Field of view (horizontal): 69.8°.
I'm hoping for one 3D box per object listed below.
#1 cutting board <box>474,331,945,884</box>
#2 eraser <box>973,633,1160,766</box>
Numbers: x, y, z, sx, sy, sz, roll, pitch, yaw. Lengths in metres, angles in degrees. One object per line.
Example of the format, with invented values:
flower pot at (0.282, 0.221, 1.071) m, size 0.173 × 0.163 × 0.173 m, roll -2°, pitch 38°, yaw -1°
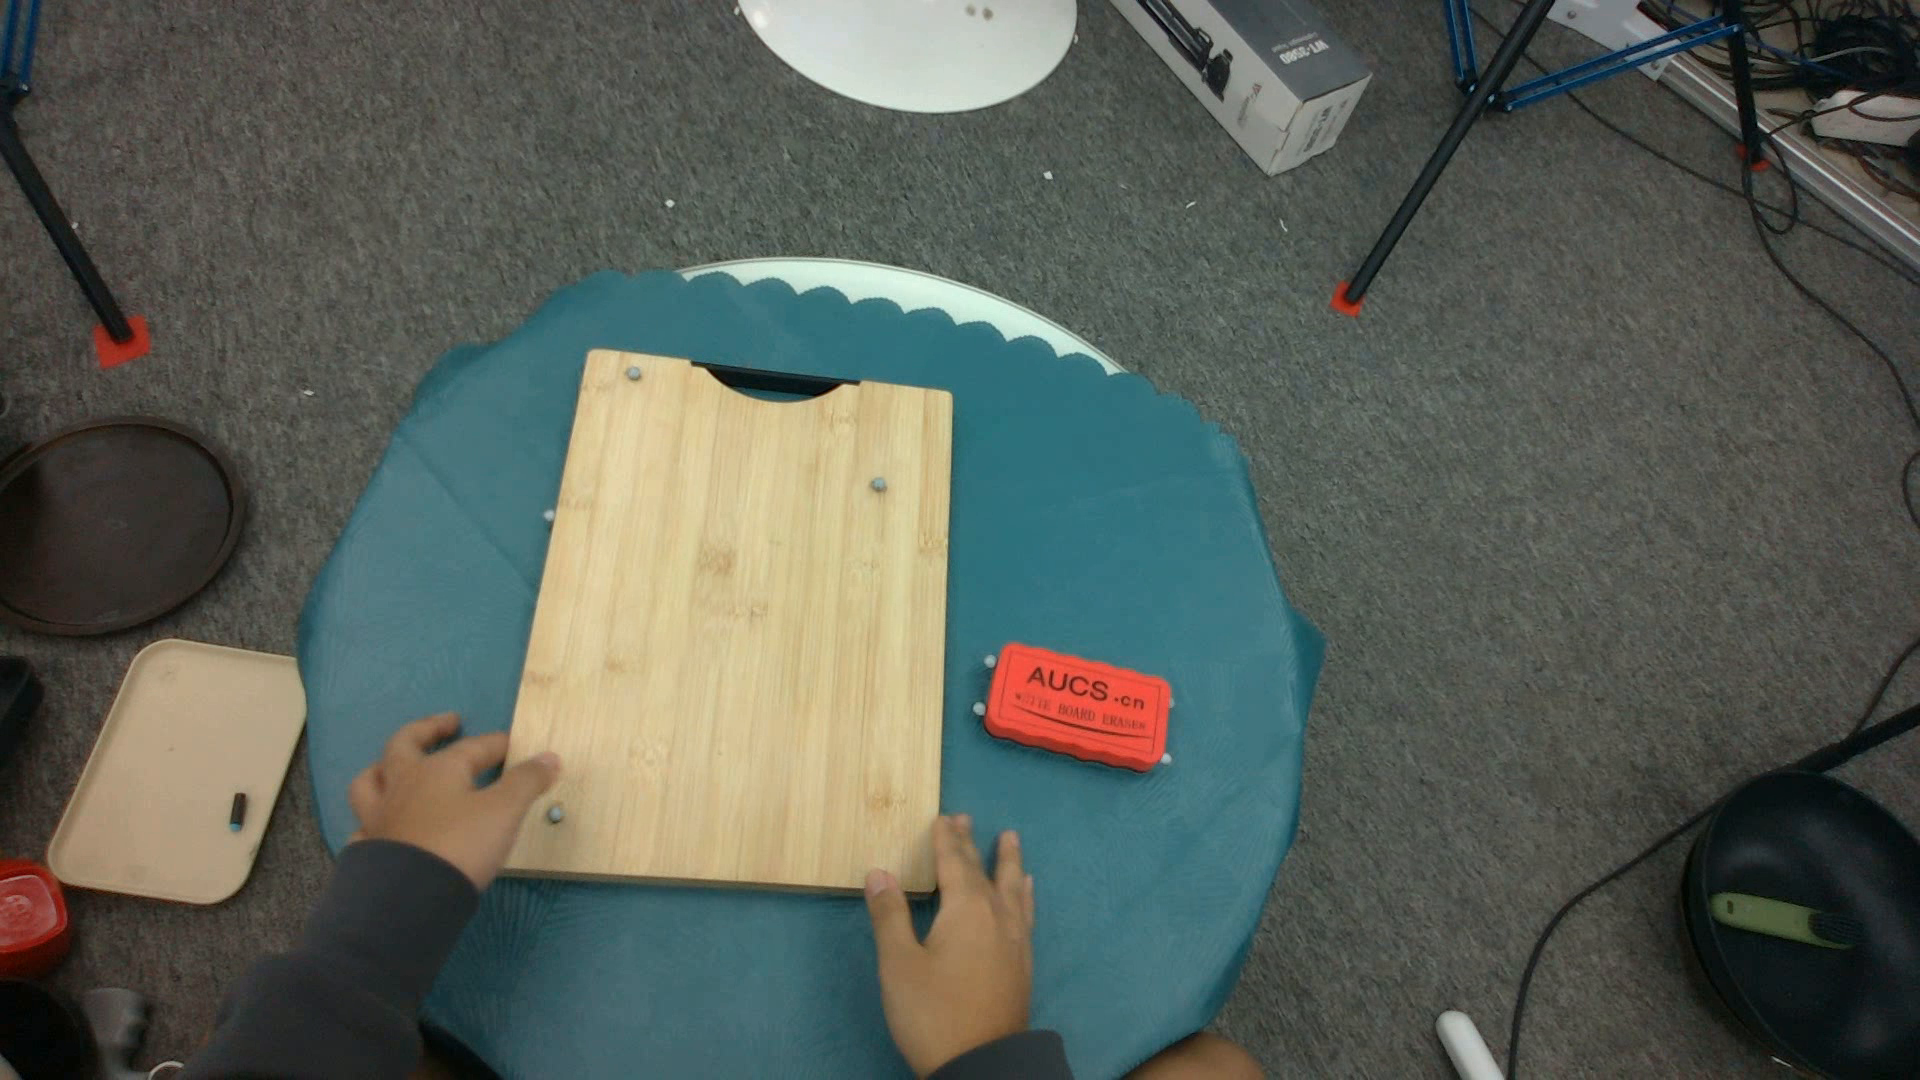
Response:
cutting board at (-0.134, 0.029, 0.833) m, size 0.251 × 0.023 × 0.350 m, roll 5°, pitch 60°, yaw -9°
eraser at (0.064, 0.096, 0.832) m, size 0.108 × 0.023 × 0.059 m, roll 14°, pitch 58°, yaw -3°
